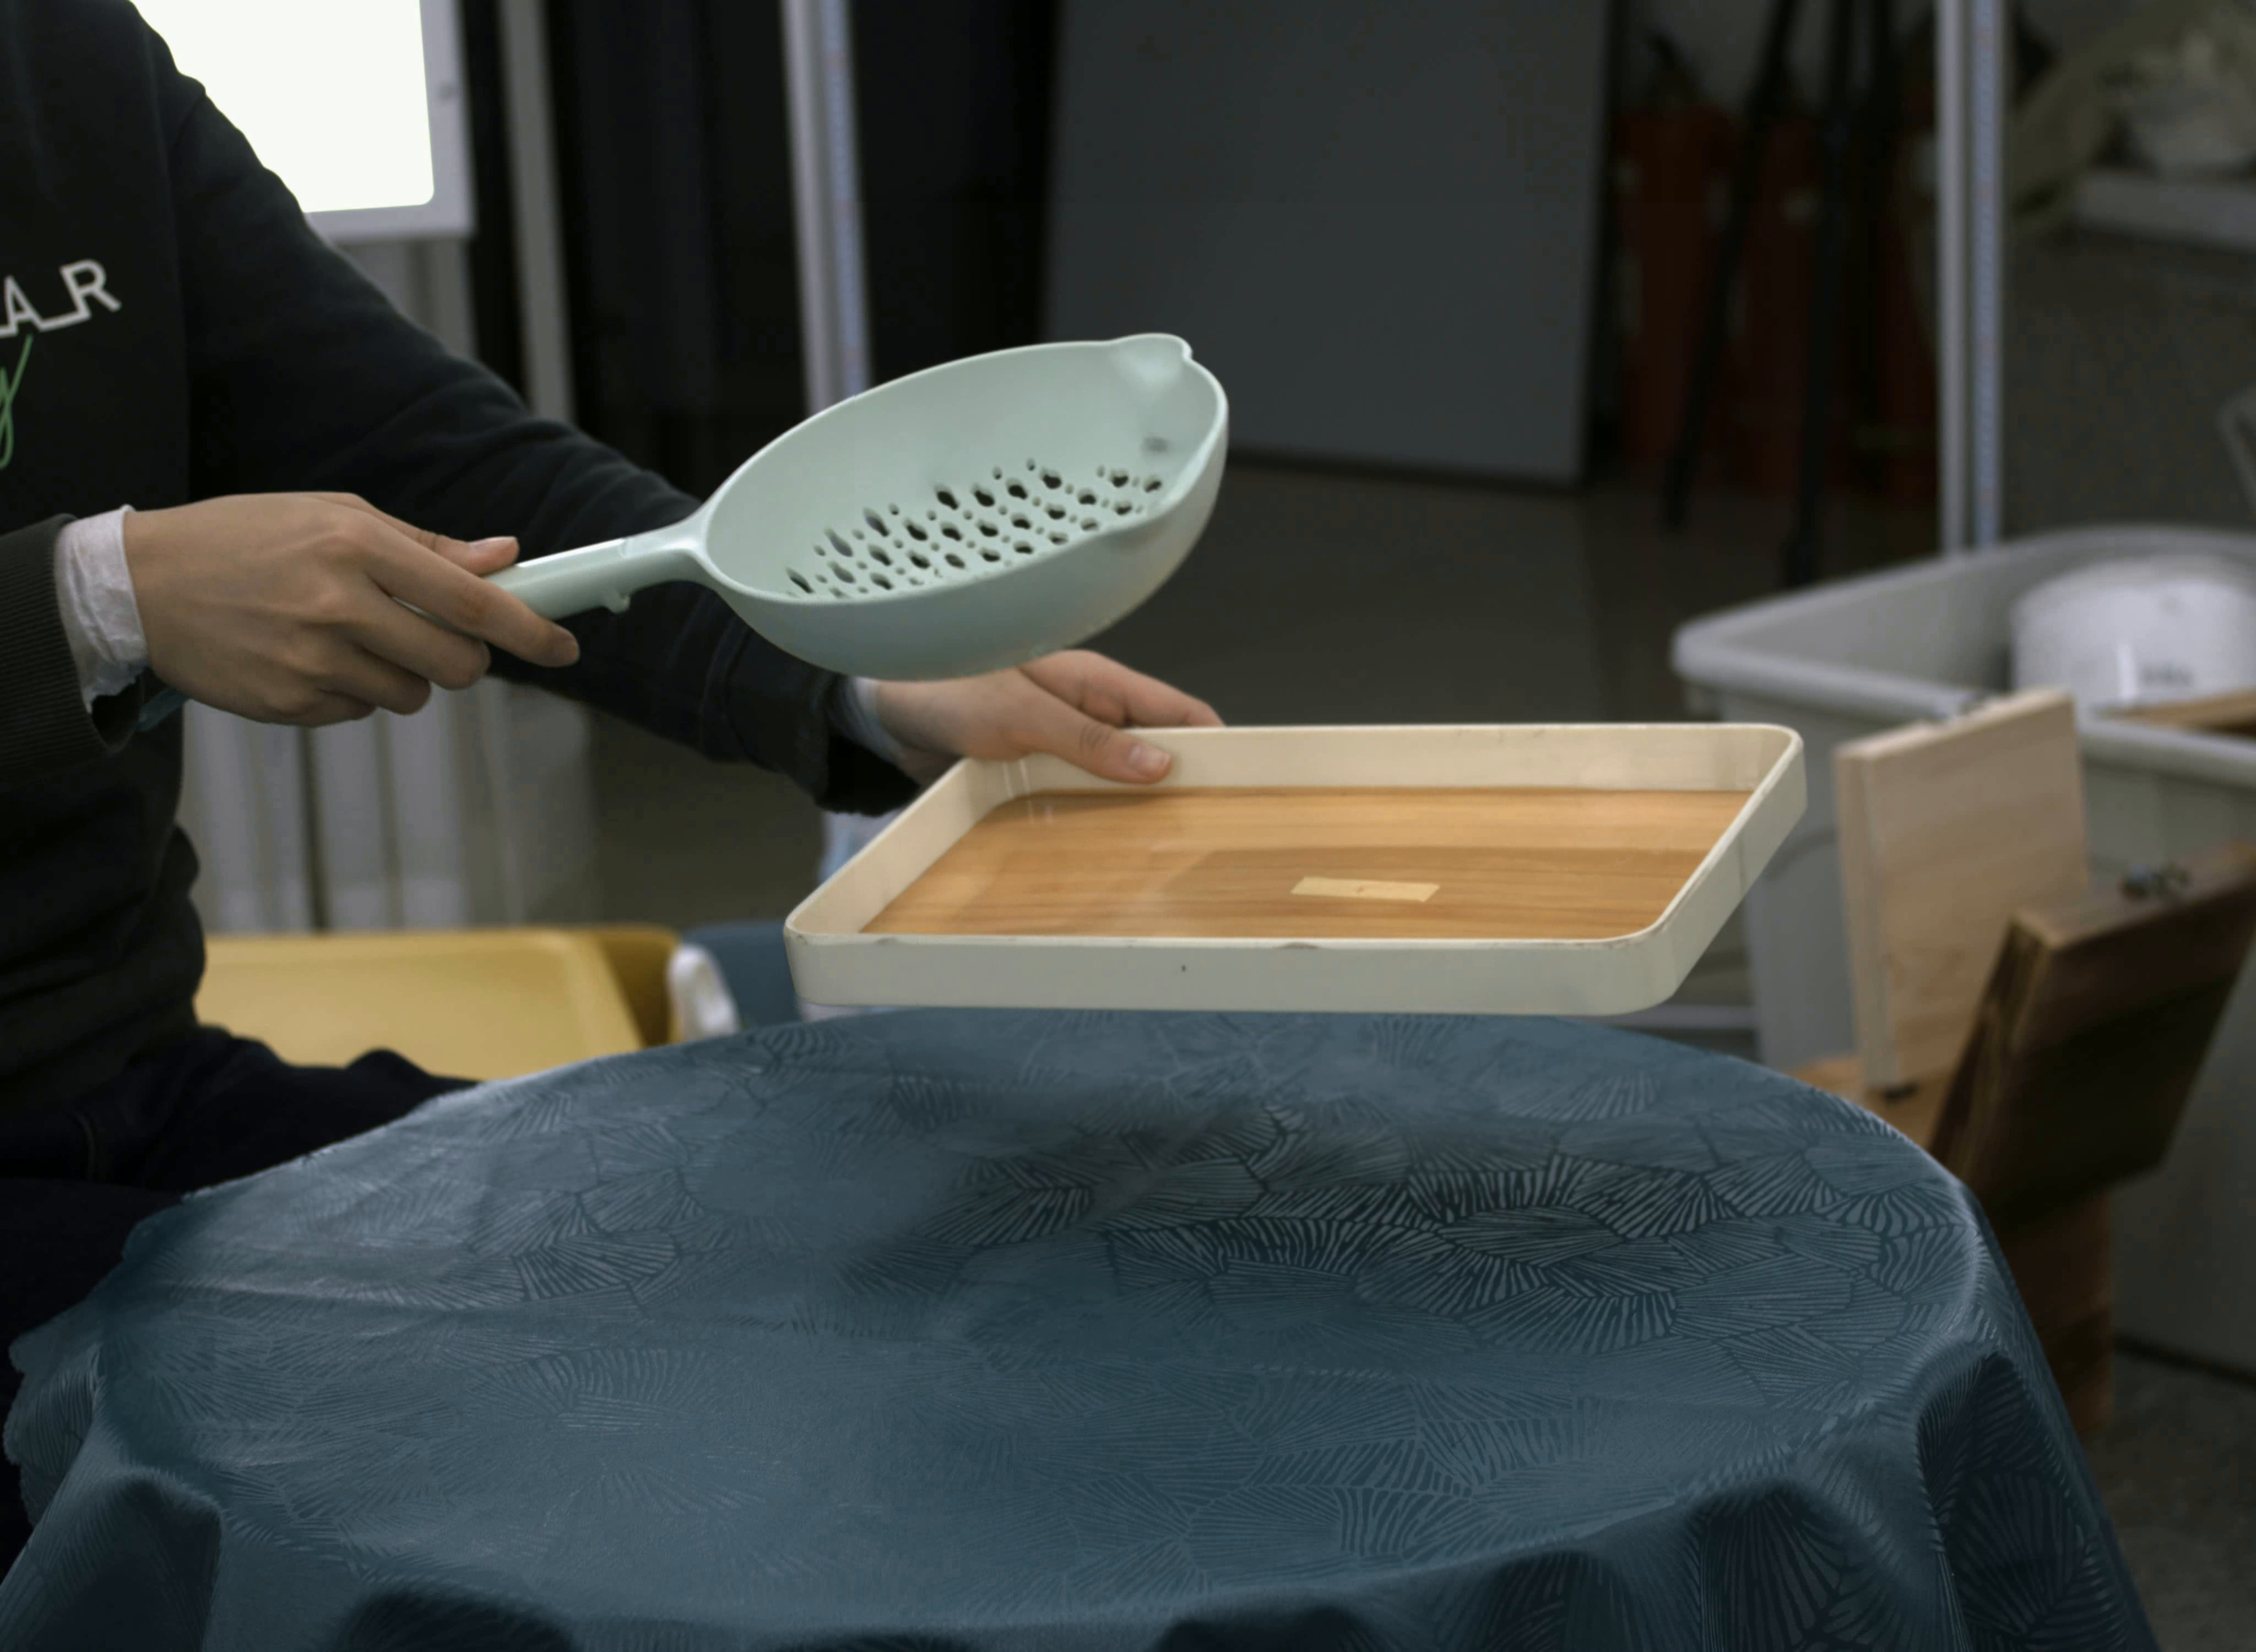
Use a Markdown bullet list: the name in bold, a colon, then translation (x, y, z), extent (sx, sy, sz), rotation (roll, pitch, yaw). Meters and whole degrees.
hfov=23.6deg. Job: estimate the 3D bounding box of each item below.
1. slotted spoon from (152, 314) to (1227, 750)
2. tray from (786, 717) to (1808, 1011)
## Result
- **slotted spoon**: translation (-0.140, -0.079, 1.690), extent (0.355, 0.076, 0.170), rotation (-7, 28, 6)
- **tray**: translation (0.056, 0.012, 1.742), extent (0.300, 0.027, 0.190), rotation (0, 21, 25)
